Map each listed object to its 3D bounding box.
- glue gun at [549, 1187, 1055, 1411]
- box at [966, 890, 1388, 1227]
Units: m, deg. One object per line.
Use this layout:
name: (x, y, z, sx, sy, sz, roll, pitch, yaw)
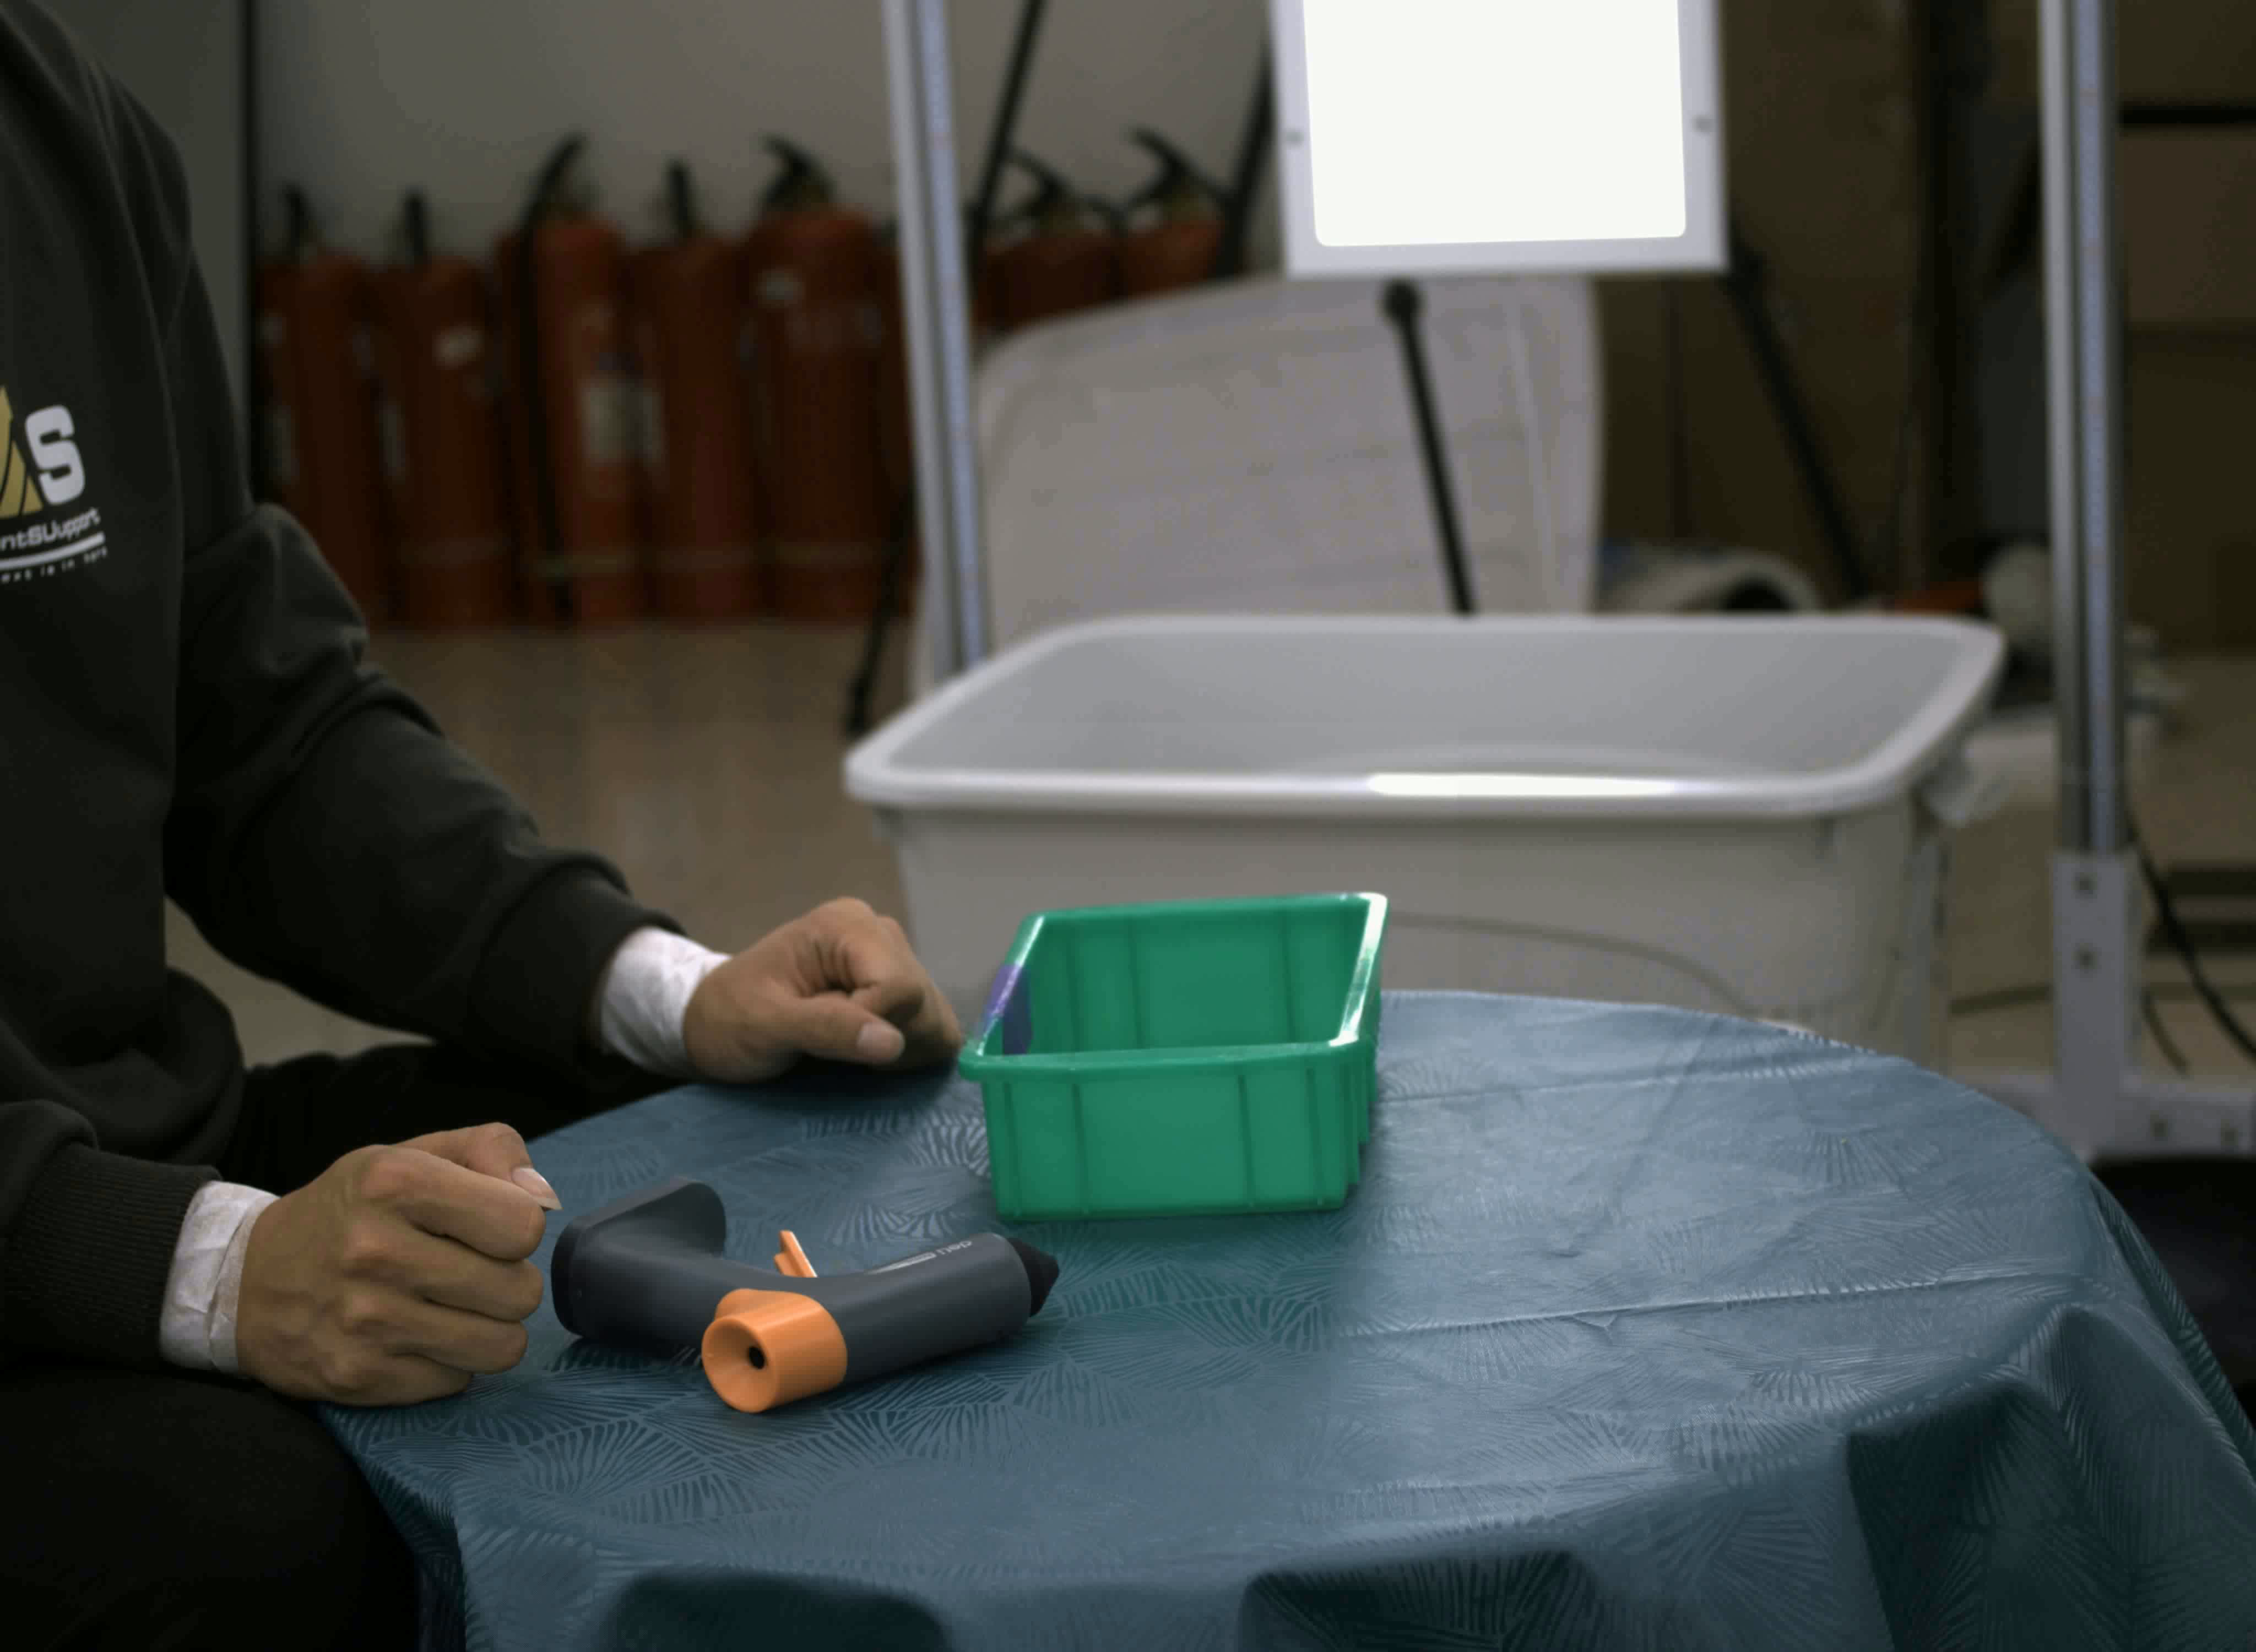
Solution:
glue gun: (-0.107, 0.151, 1.773, 0.143, 0.041, 0.115, 9, 18, 39)
box: (0.023, 0.082, 1.945, 0.139, 0.065, 0.209, -4, 16, 7)
